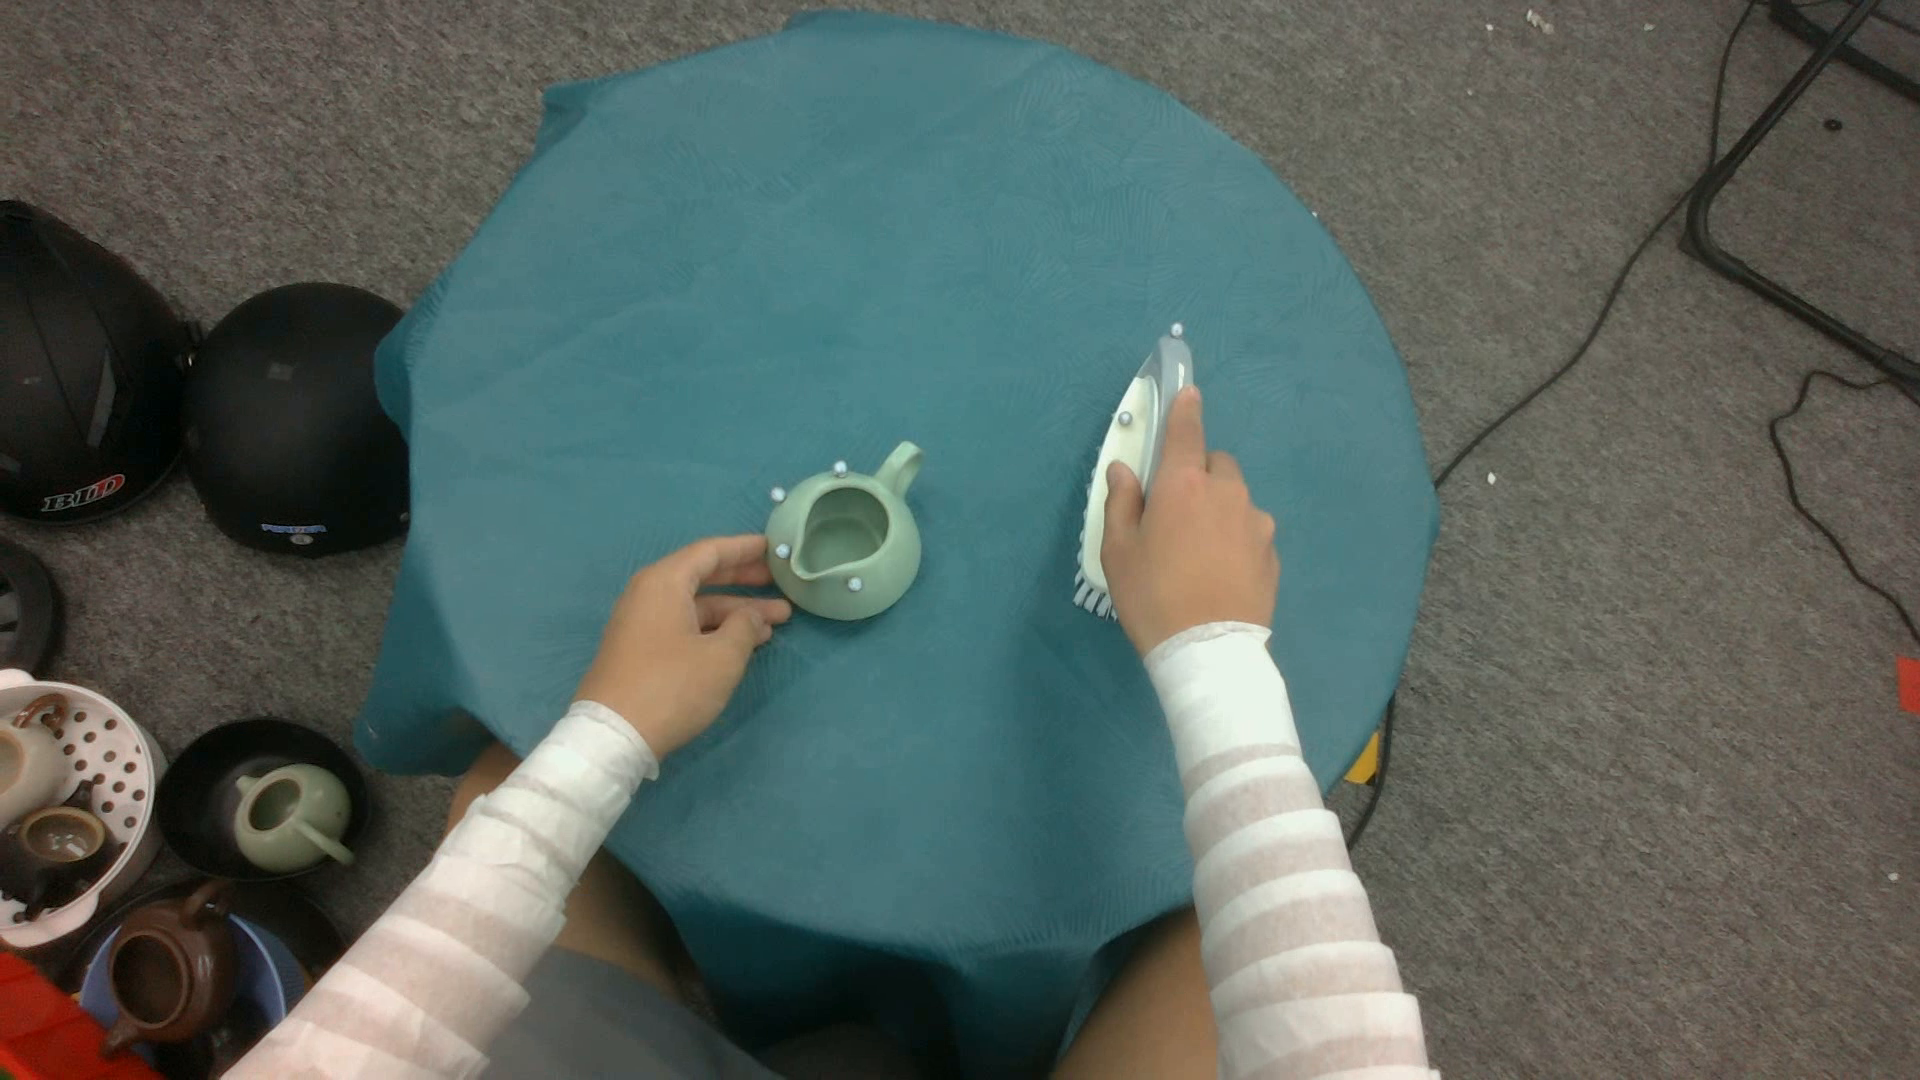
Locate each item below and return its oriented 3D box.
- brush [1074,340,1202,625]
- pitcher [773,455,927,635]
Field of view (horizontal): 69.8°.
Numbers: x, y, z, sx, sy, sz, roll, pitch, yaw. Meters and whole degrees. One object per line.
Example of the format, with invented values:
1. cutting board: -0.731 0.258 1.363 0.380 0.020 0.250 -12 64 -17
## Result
1. brush: 0.110 -0.048 0.785 0.061 0.094 0.176 14 64 -5
2. pitcher: -0.053 -0.001 0.762 0.086 0.060 0.108 33 65 6
